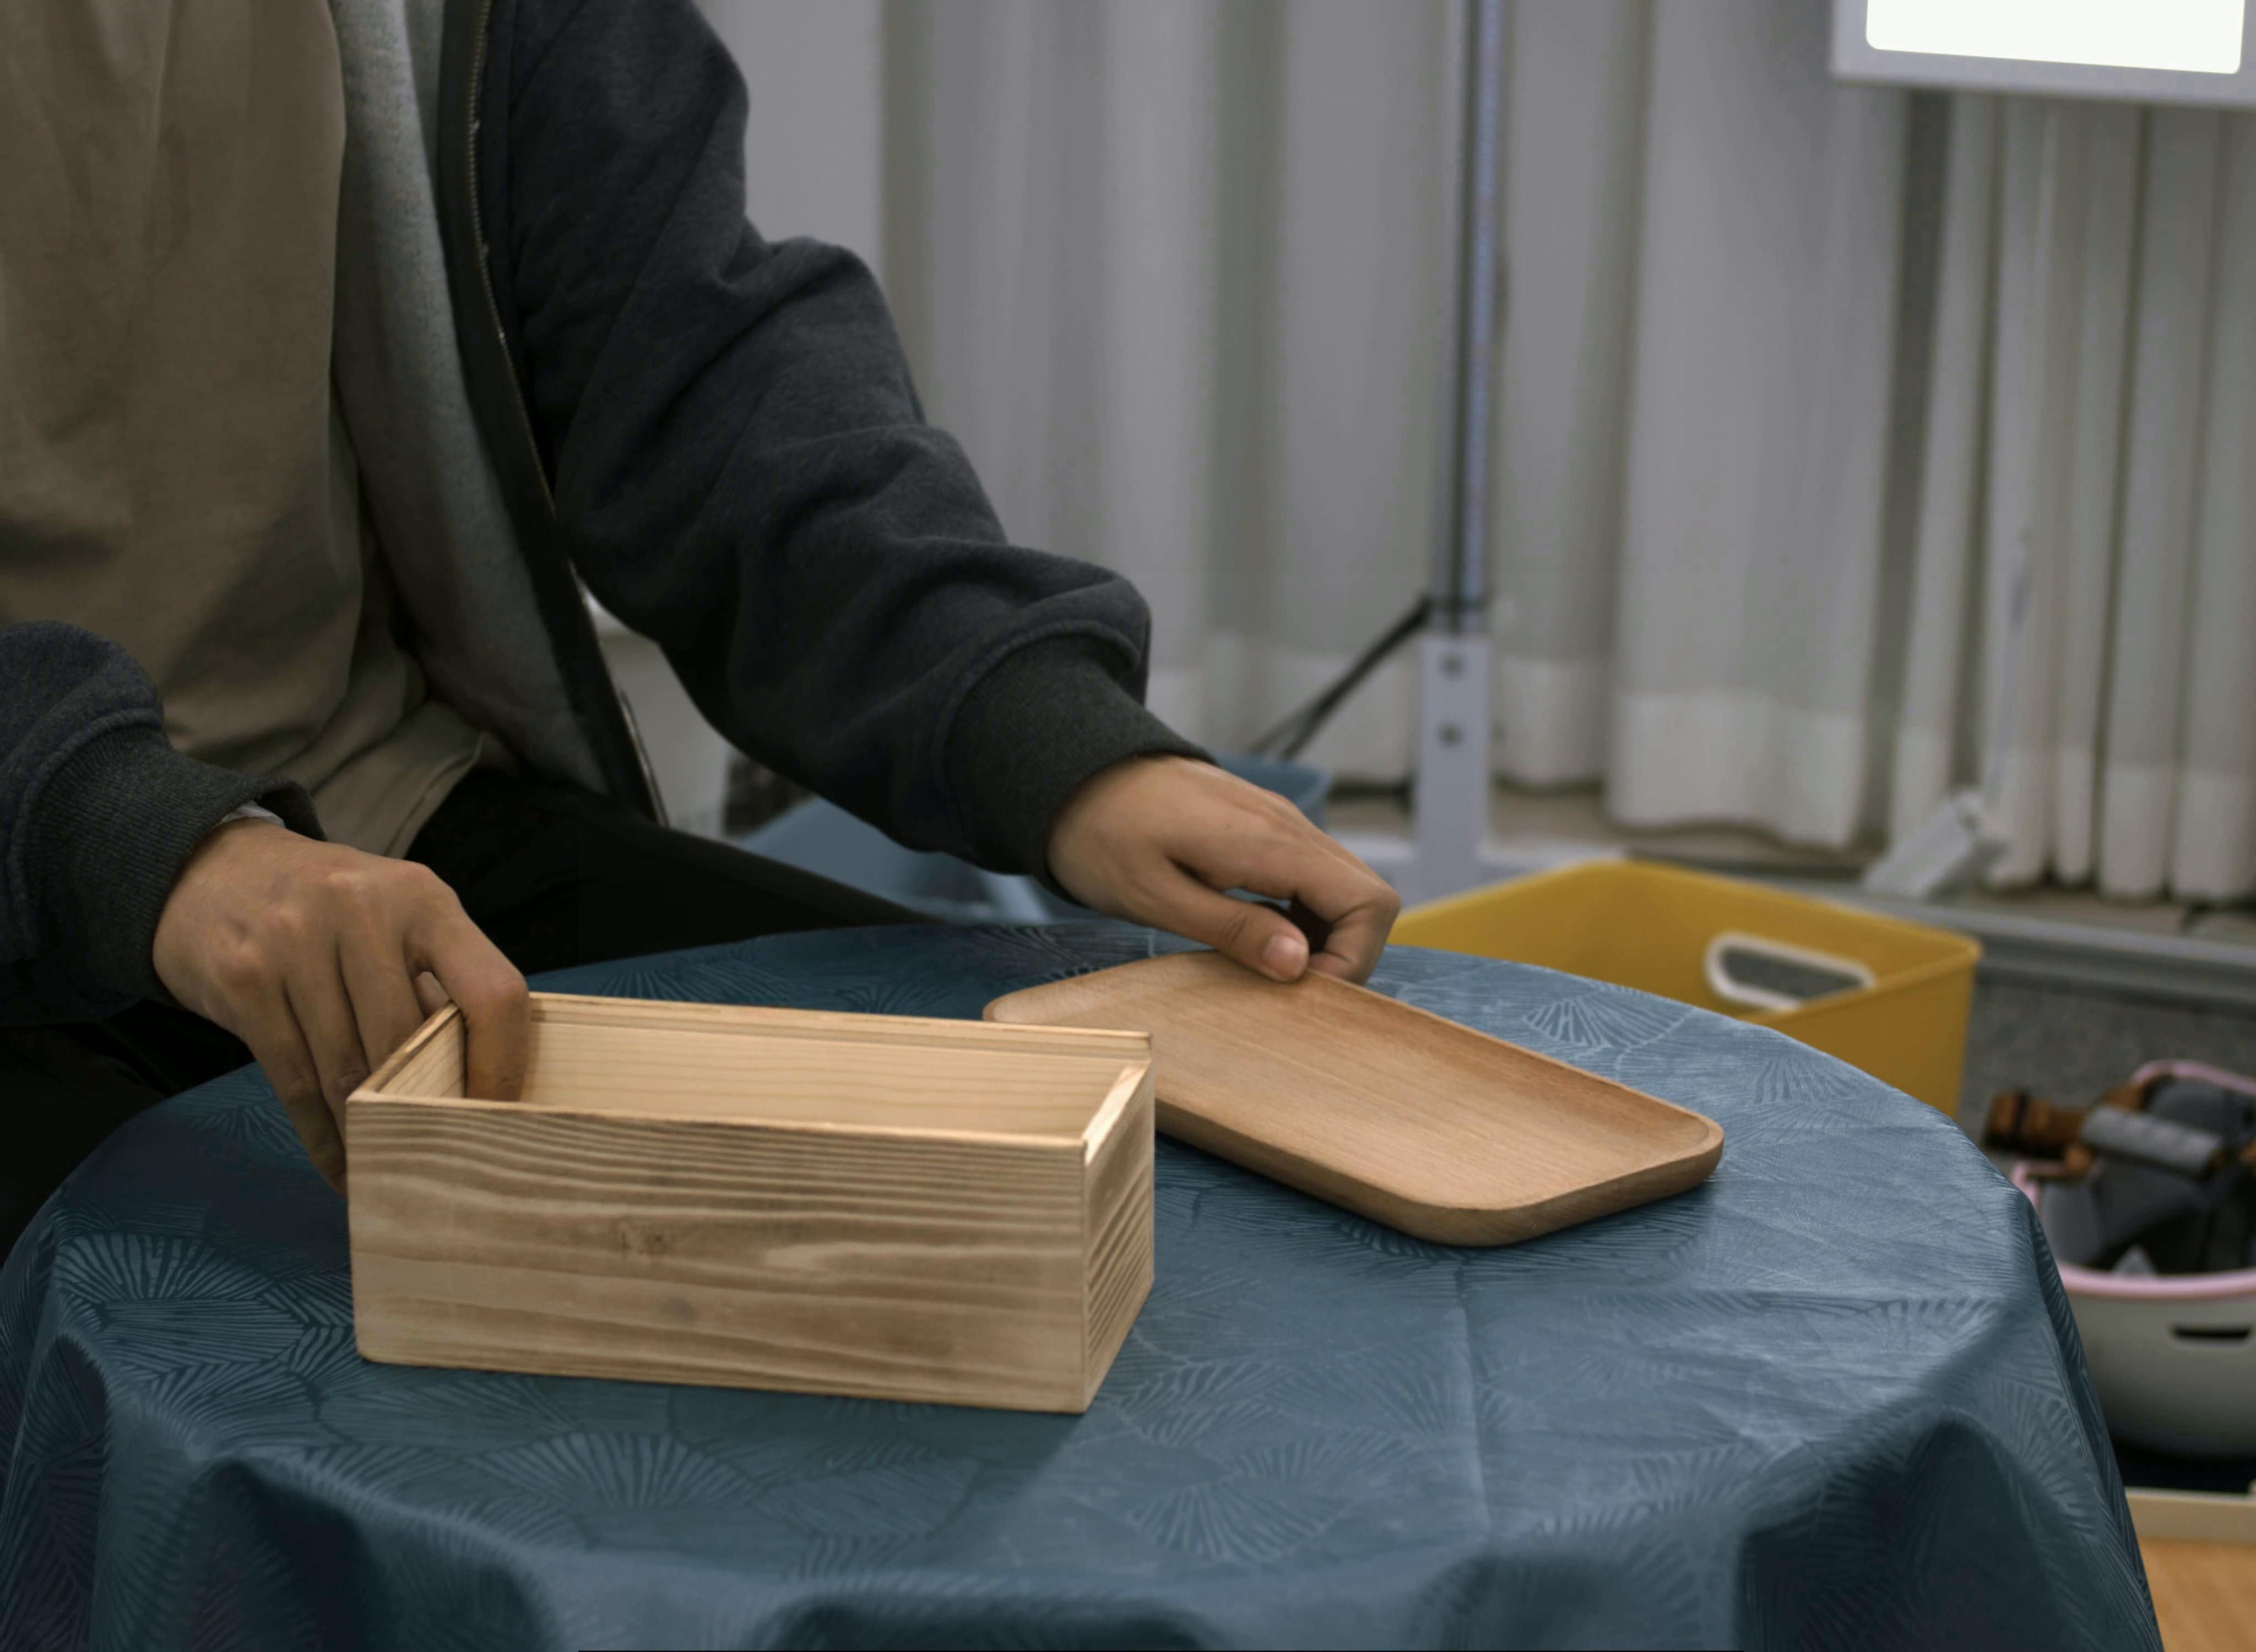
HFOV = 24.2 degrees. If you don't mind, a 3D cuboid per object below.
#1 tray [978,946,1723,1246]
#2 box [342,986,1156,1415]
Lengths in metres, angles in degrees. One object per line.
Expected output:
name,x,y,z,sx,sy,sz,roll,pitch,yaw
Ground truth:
tray,0.067,0.084,1.686,0.131,0.023,0.247,-9,19,-39
box,-0.105,0.104,1.498,0.210,0.081,0.107,3,16,10
